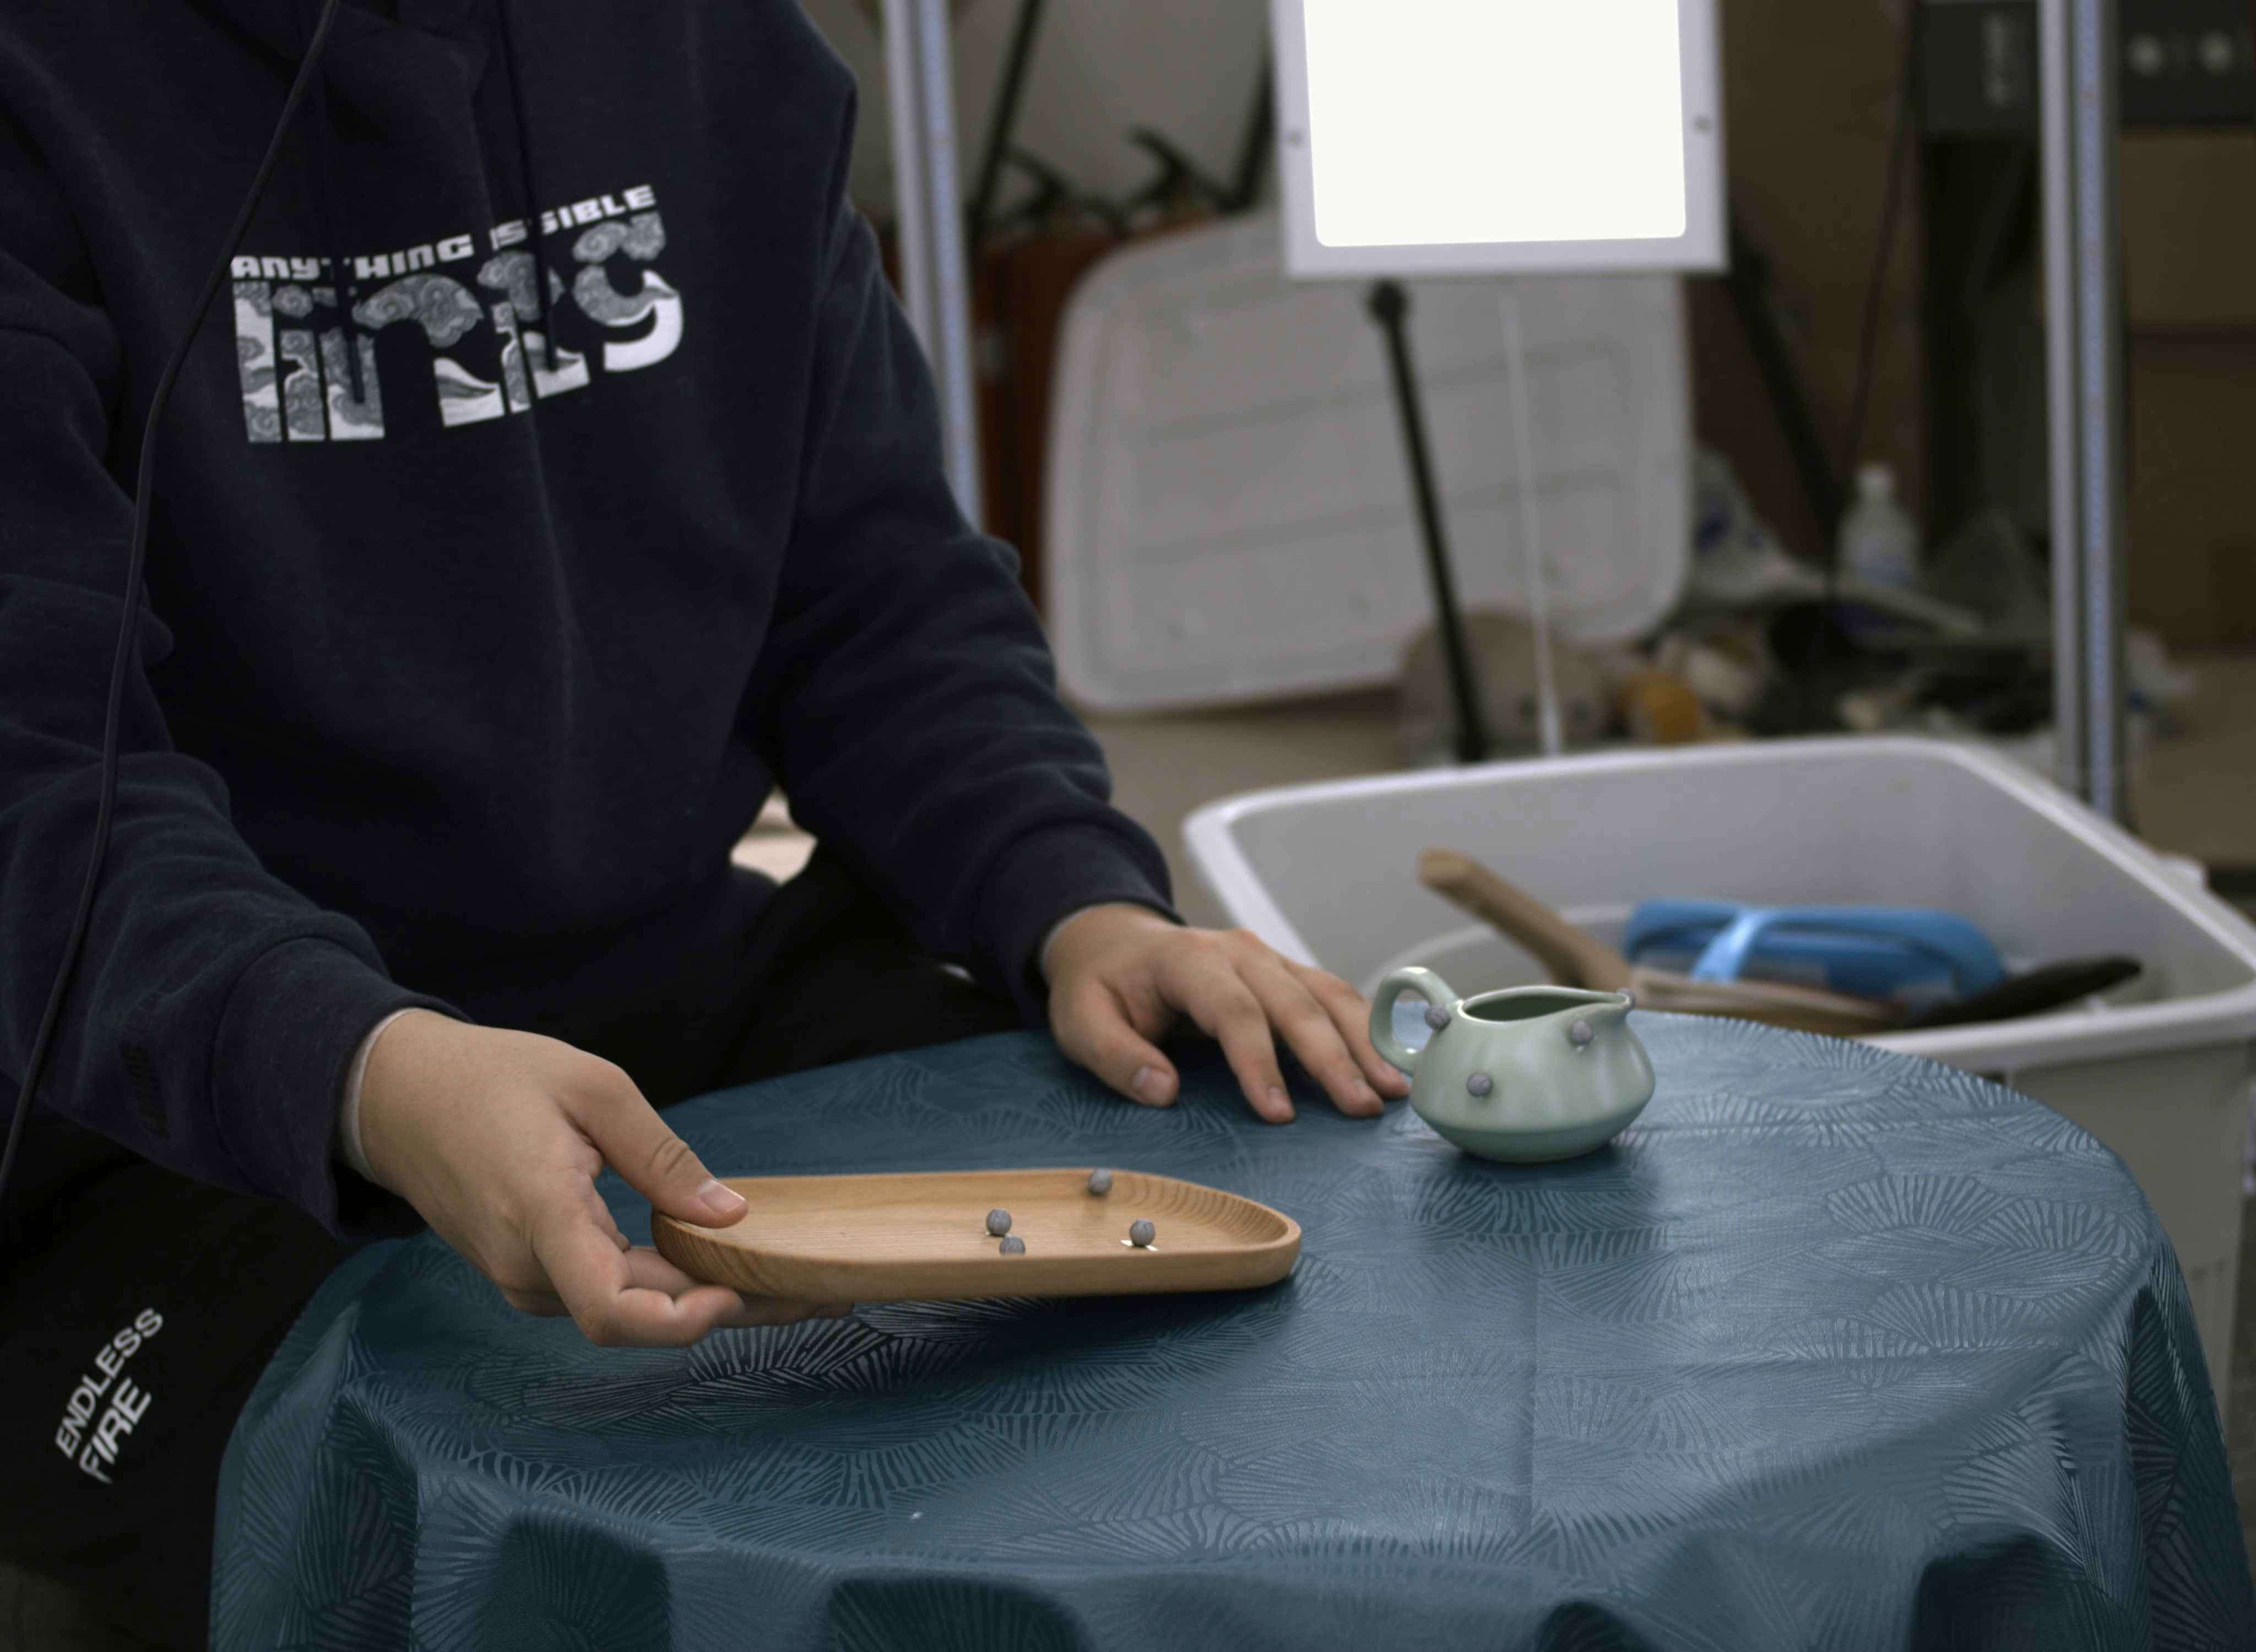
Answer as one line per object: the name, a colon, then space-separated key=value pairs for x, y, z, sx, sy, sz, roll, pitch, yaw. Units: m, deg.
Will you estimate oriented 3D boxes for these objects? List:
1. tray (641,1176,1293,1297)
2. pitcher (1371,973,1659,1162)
tray: x=-0.049 y=0.131 z=1.762 sx=0.225 sy=0.020 sz=0.104 roll=-1 pitch=8 yaw=-34
pitcher: x=0.132 y=0.083 z=1.915 sx=0.110 sy=0.060 sz=0.084 roll=2 pitch=14 yaw=36
